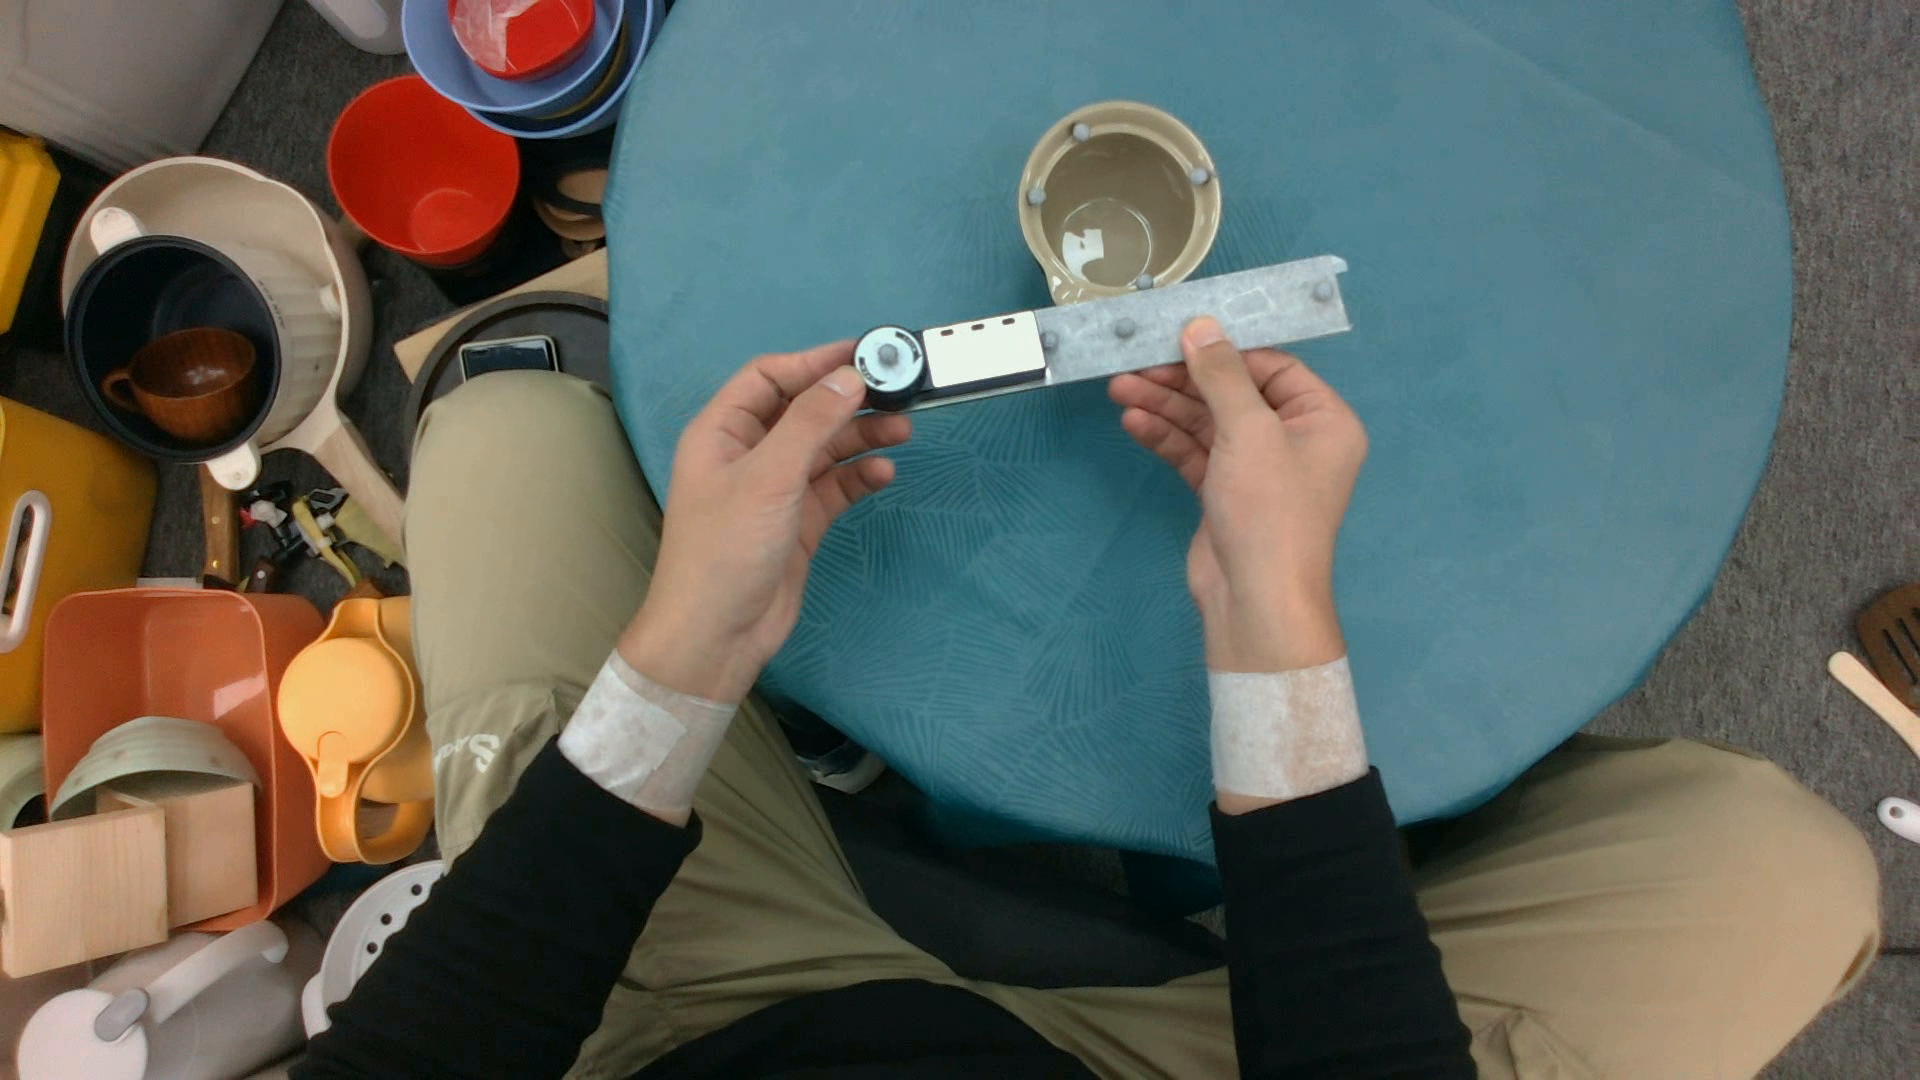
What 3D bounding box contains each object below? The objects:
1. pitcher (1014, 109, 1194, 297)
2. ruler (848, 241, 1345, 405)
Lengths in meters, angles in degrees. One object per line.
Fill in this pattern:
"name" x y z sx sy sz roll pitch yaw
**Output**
"pitcher" 0.064 -0.150 0.661 0.083 0.071 0.096 29 84 2
"ruler" 0.059 -0.095 0.593 0.218 0.024 0.038 -11 85 -2
